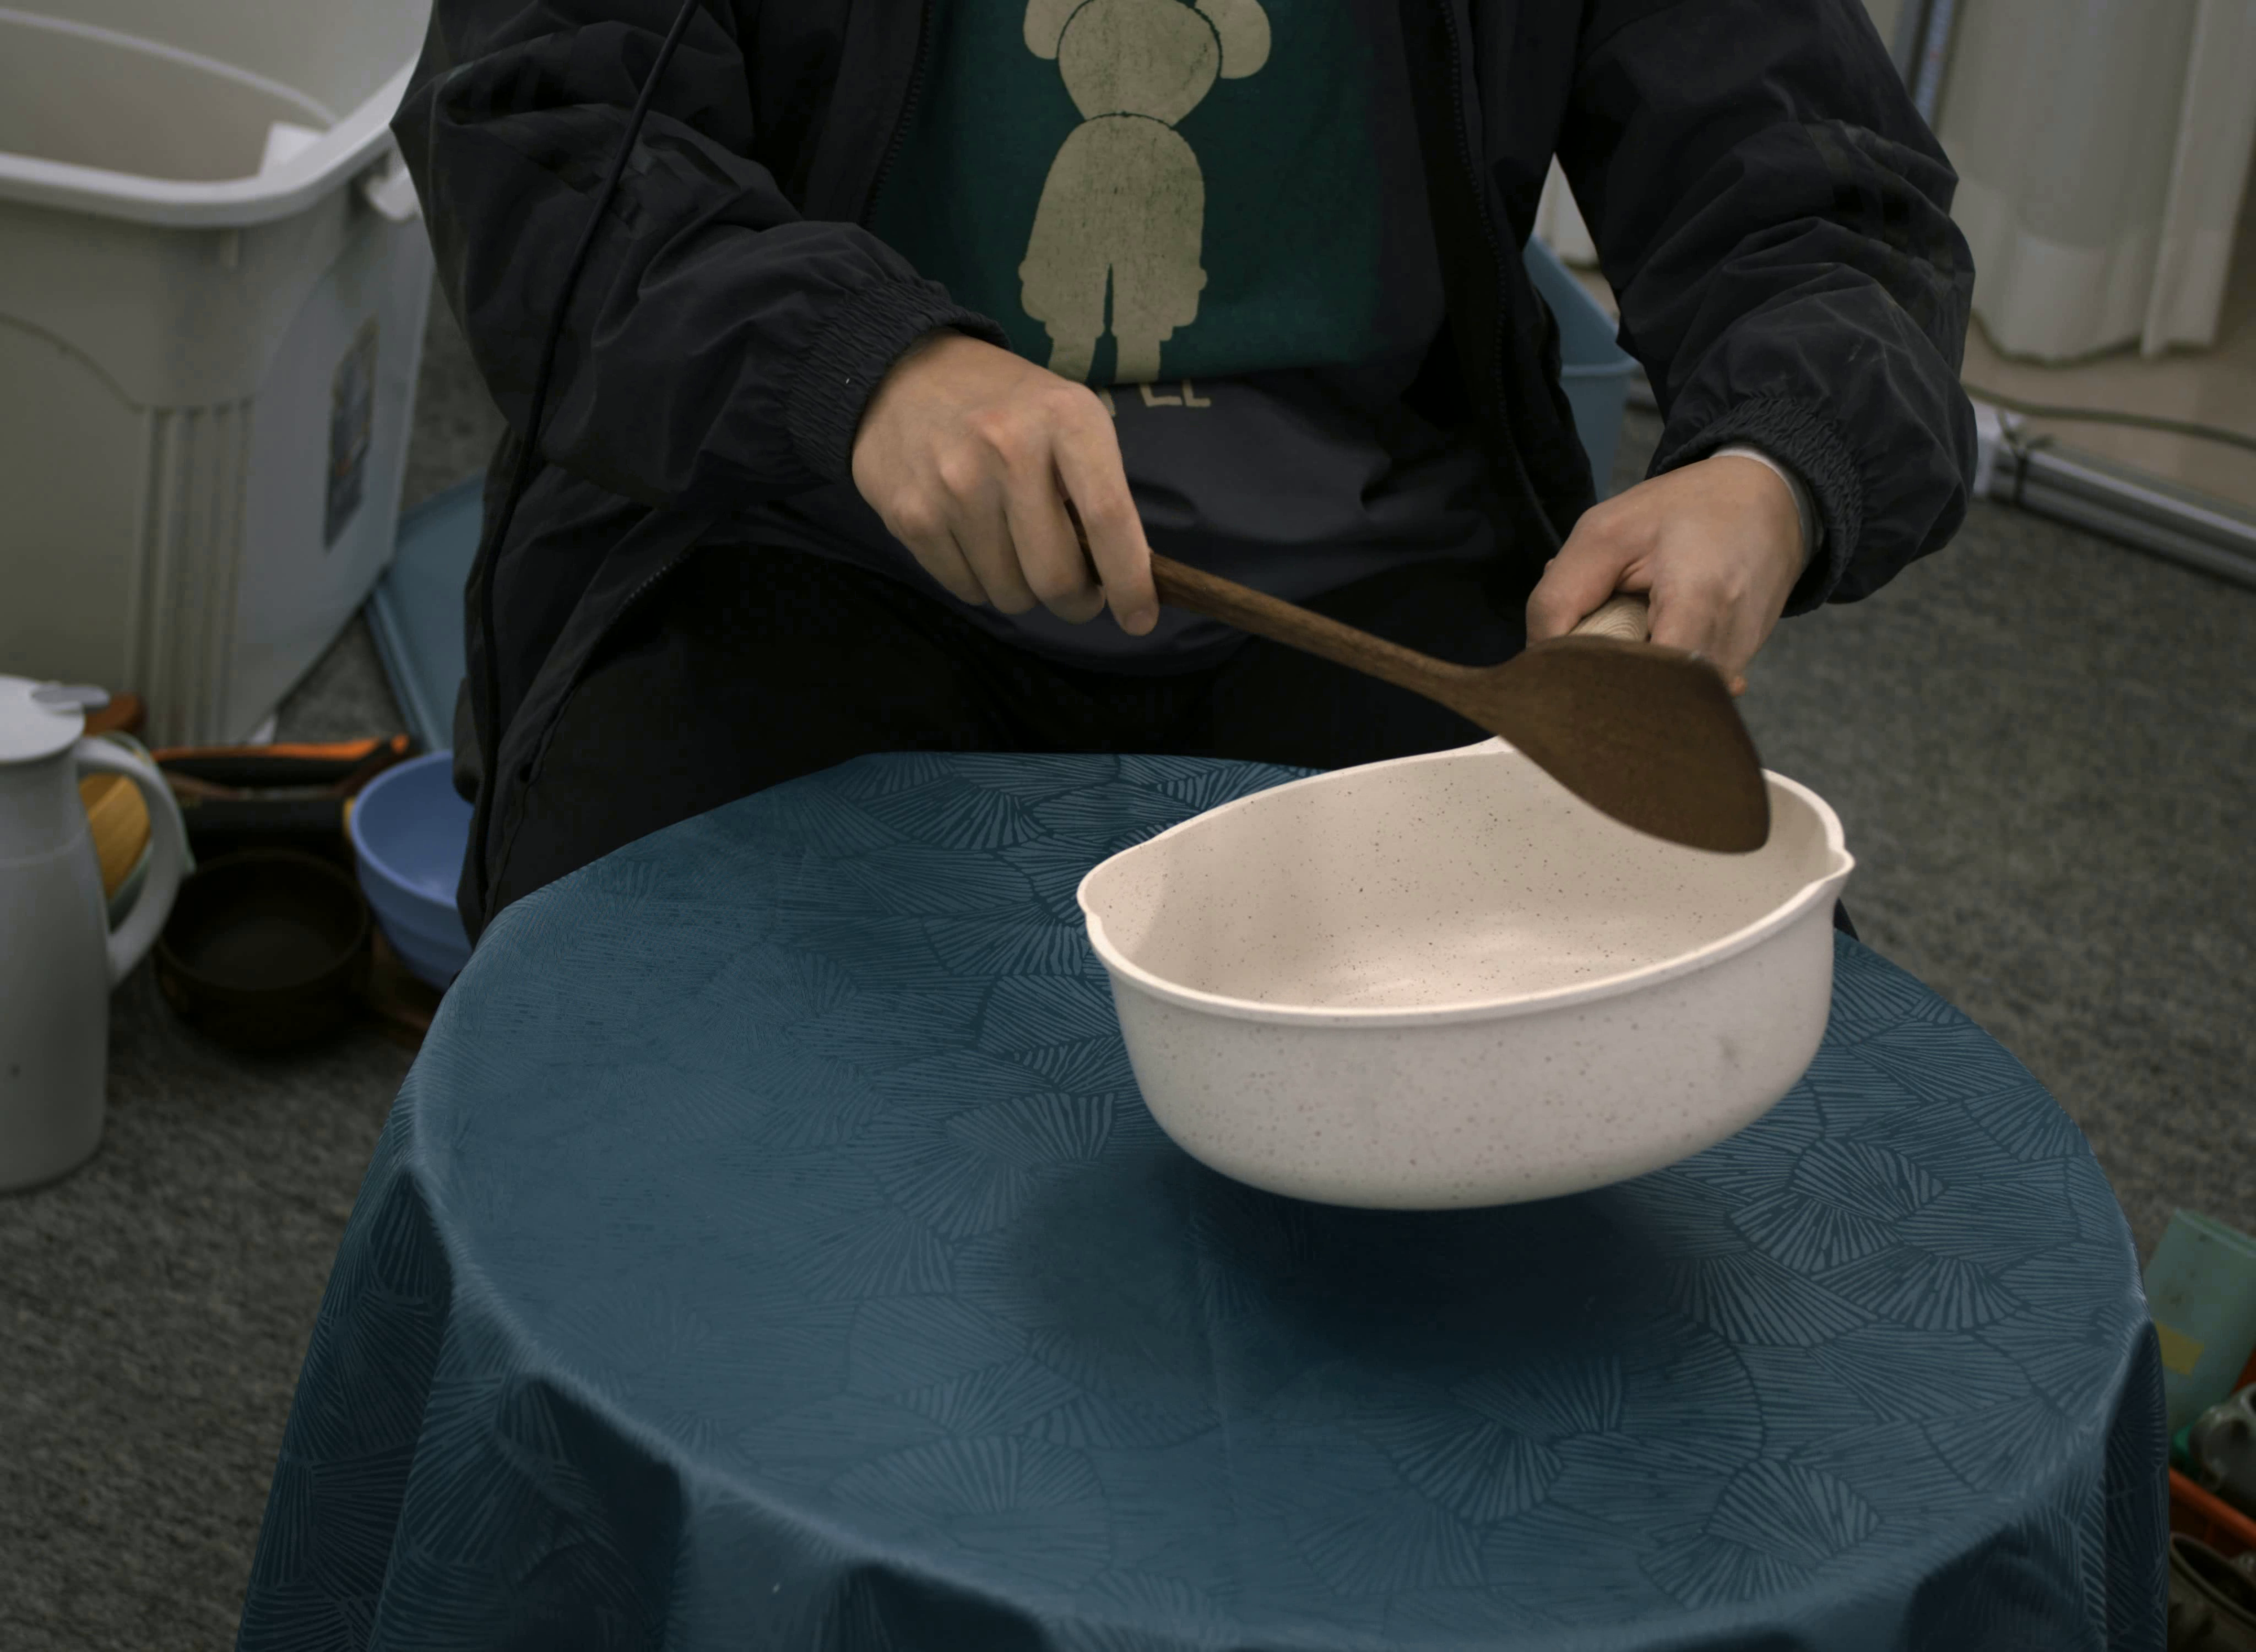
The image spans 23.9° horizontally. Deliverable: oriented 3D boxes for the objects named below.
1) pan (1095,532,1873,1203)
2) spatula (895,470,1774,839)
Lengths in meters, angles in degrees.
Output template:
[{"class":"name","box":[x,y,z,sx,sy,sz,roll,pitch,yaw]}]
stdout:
[{"class":"pan","box":[0.148,0.011,1.843,0.264,0.102,0.435,-3,19,20]},{"class":"spatula","box":[0.062,-0.072,1.854,0.388,0.095,0.016,20,56,38]}]
